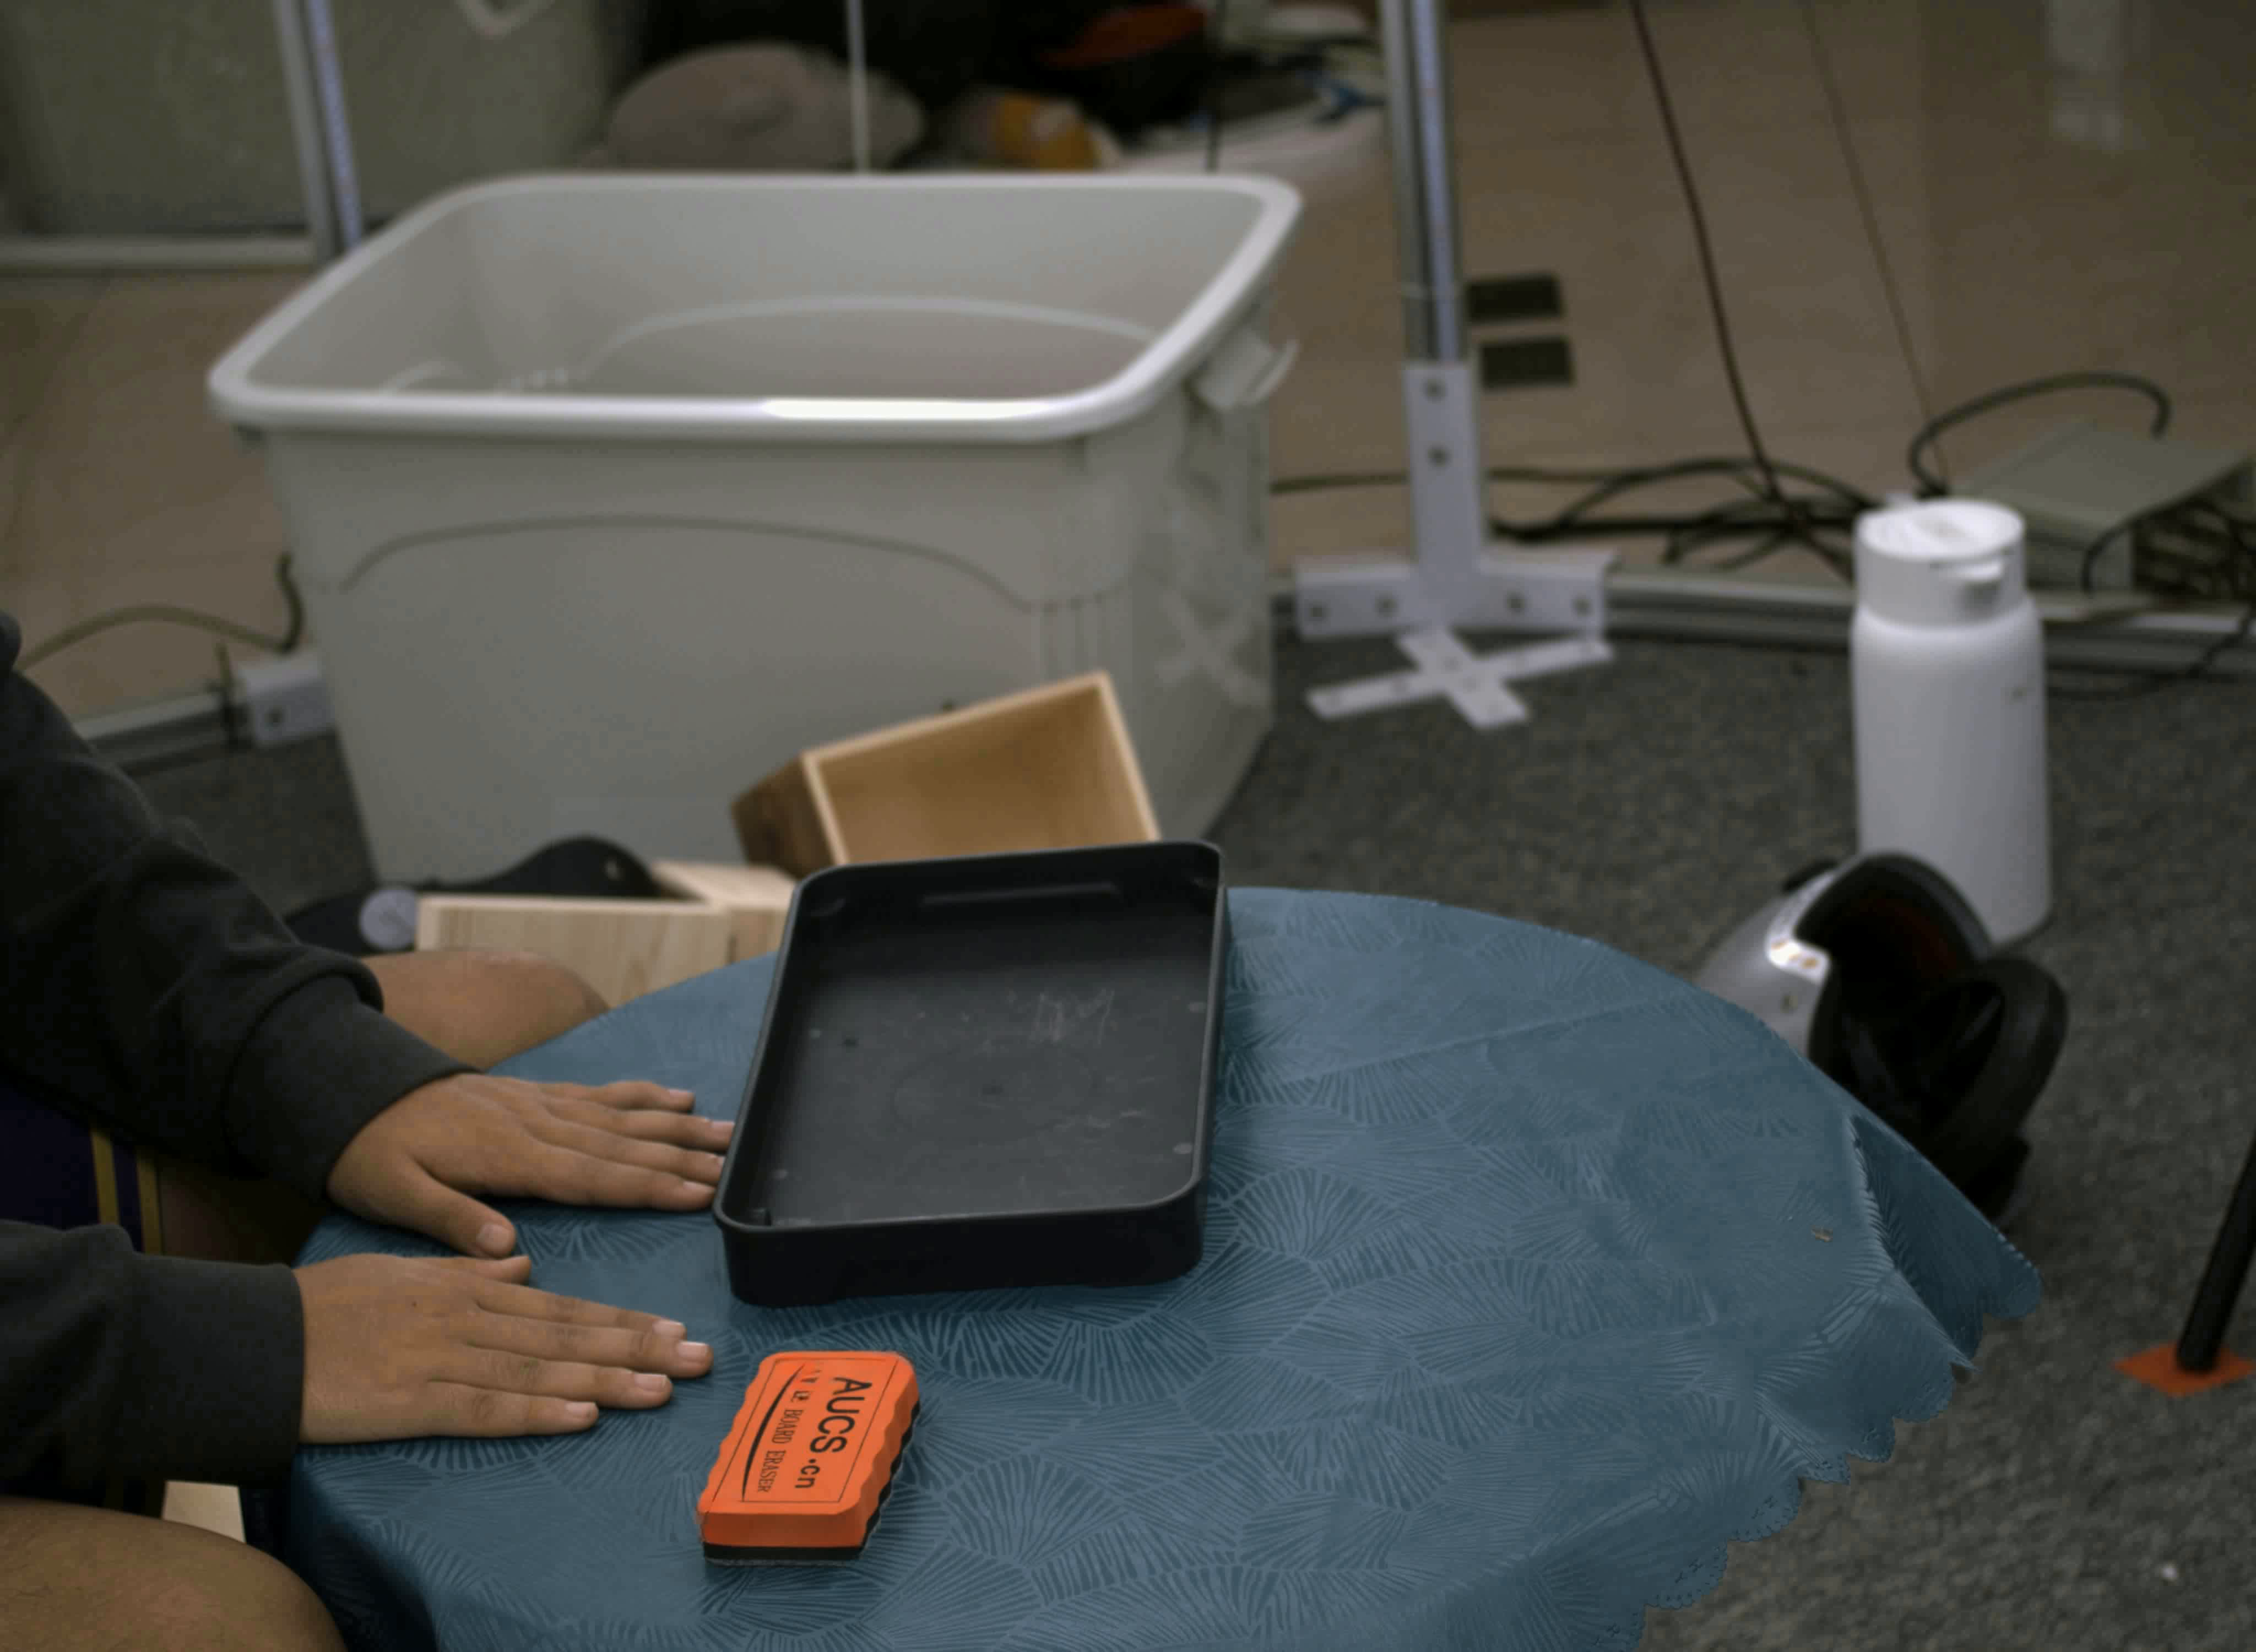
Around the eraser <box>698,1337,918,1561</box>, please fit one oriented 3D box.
[{"bbox_3d":[-0.110,0.216,1.973,0.059,0.023,0.106,-7,26,14],"label":"eraser"}]

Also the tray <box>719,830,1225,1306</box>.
[{"bbox_3d":[-0.054,0.090,2.224,0.184,0.037,0.313,-5,25,5],"label":"tray"}]
